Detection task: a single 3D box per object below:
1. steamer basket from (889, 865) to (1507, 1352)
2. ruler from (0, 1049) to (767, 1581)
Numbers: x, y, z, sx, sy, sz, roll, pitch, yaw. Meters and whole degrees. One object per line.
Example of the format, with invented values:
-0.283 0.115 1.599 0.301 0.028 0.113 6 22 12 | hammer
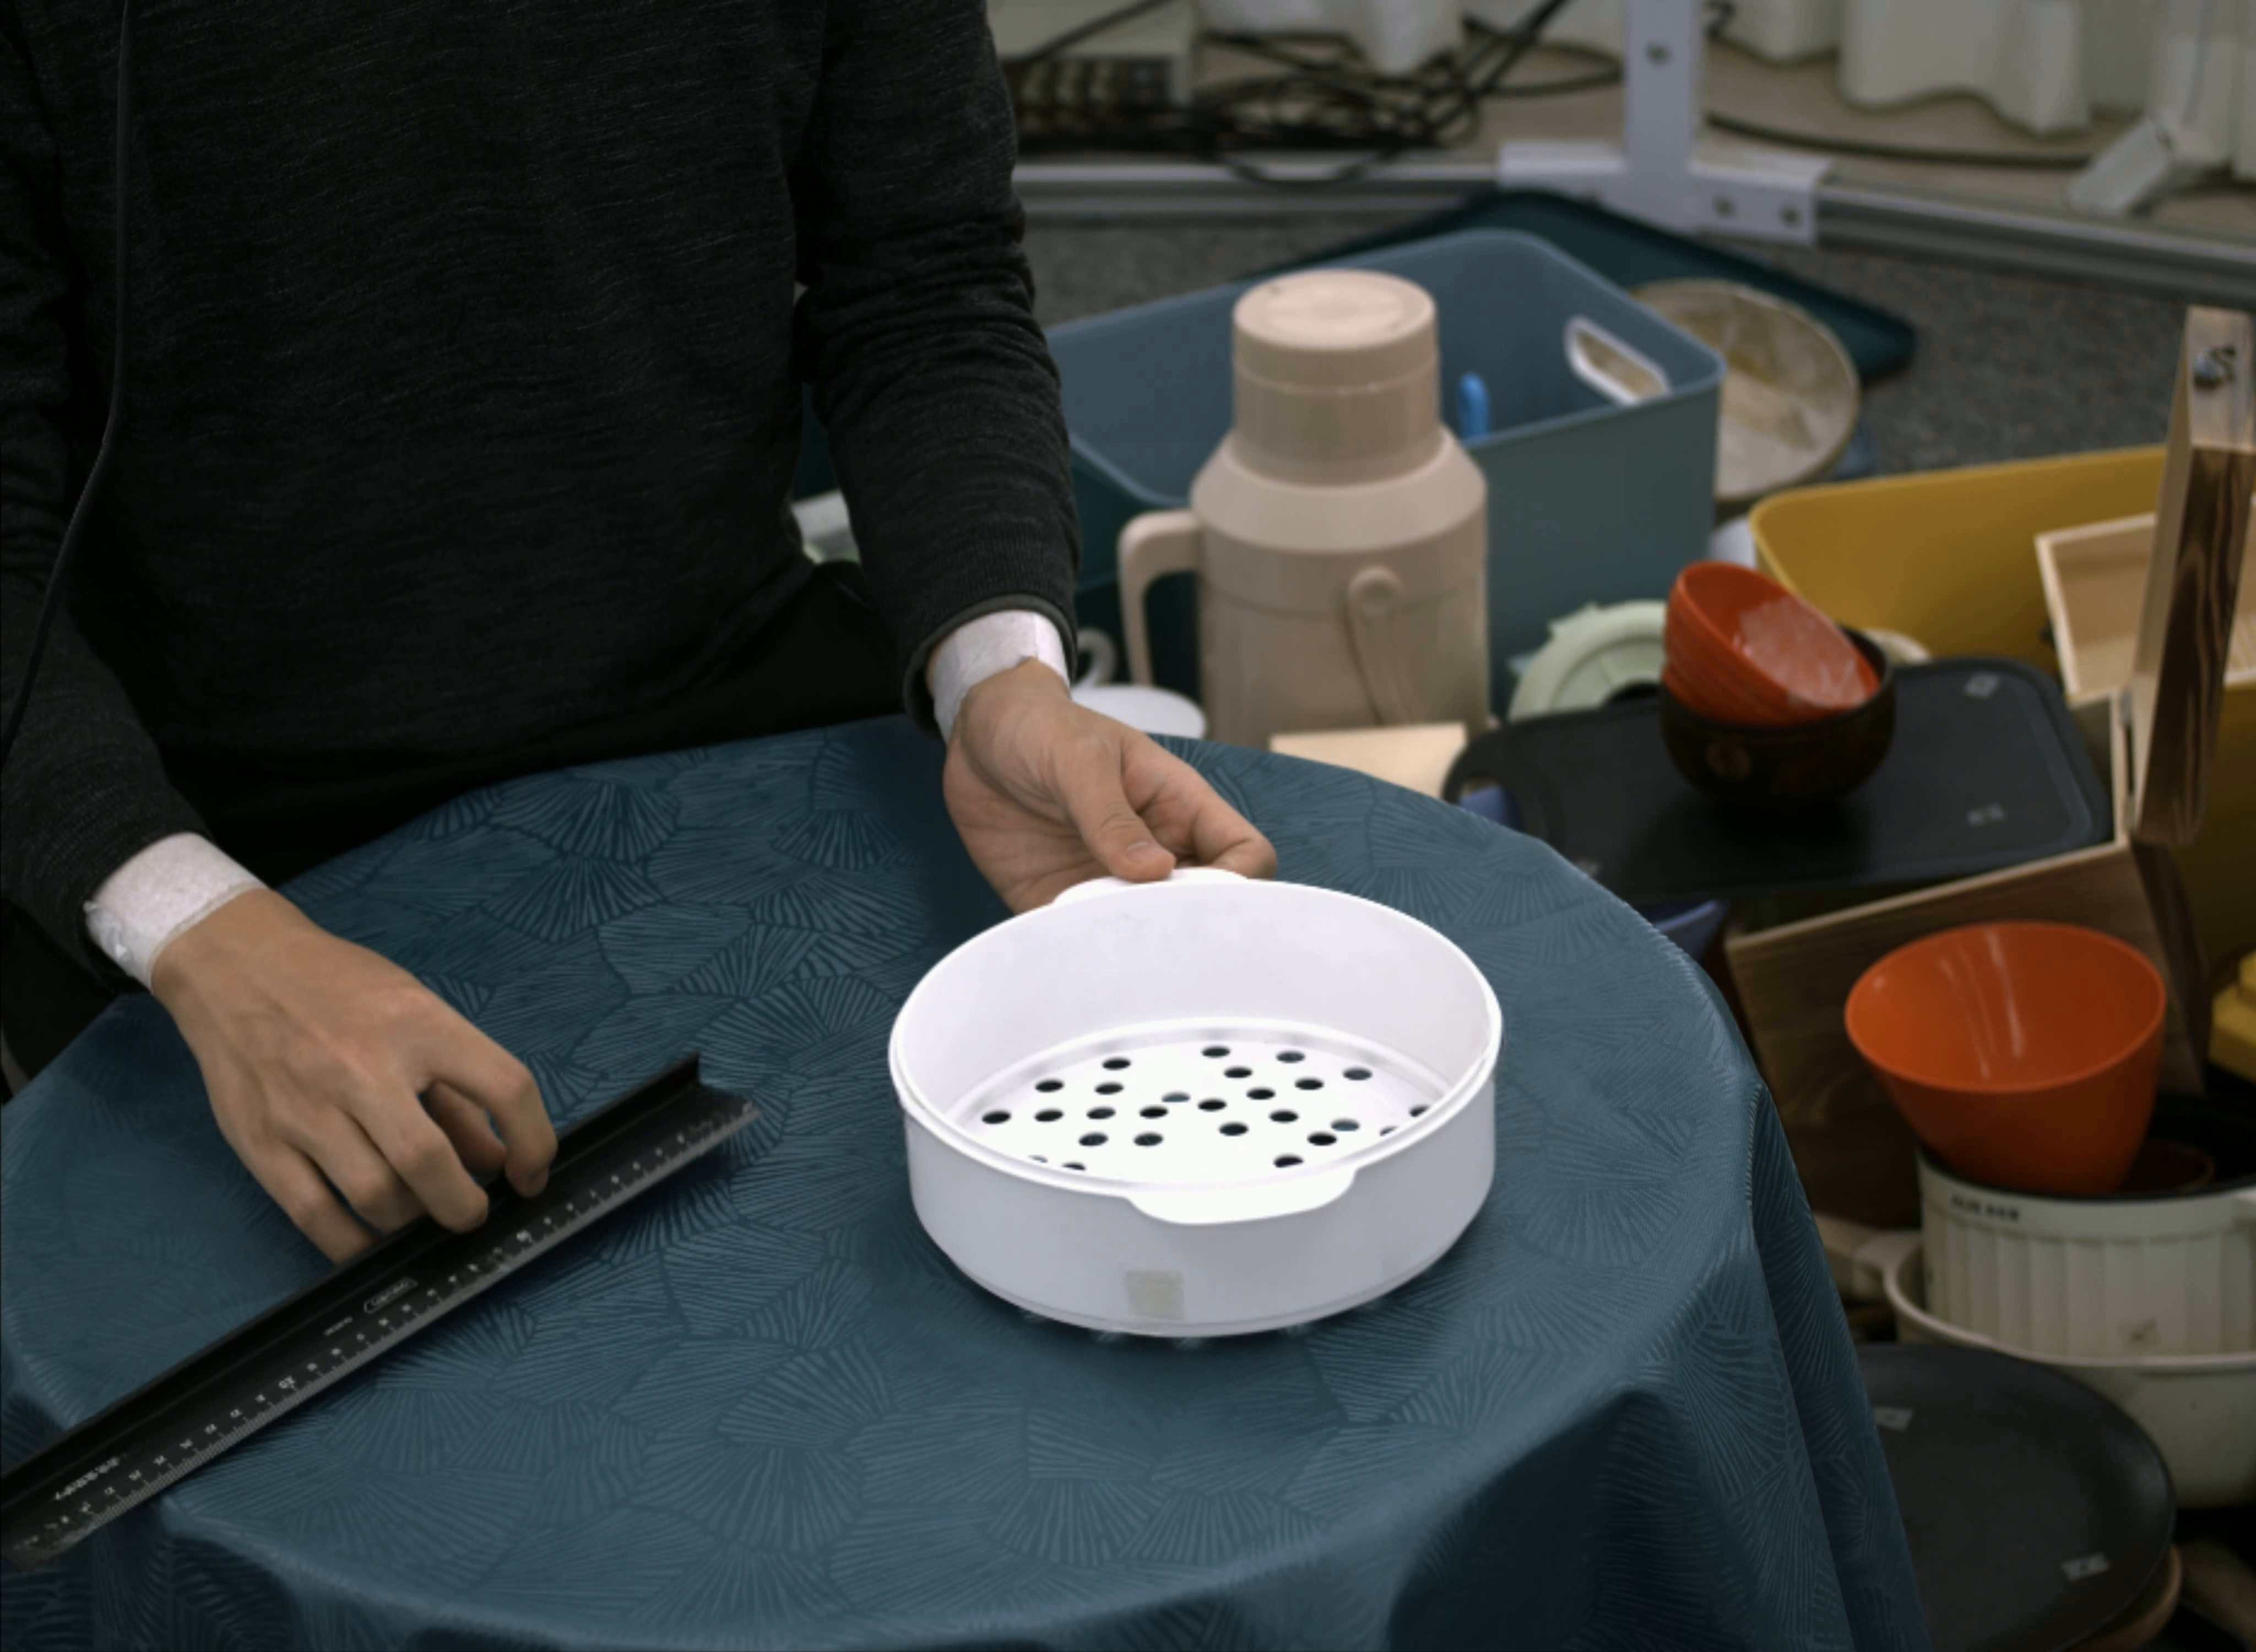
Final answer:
0.024 0.094 1.838 0.201 0.068 0.234 -6 29 -6 | steamer basket
-0.240 0.150 1.795 0.039 0.017 0.317 21 40 39 | ruler
